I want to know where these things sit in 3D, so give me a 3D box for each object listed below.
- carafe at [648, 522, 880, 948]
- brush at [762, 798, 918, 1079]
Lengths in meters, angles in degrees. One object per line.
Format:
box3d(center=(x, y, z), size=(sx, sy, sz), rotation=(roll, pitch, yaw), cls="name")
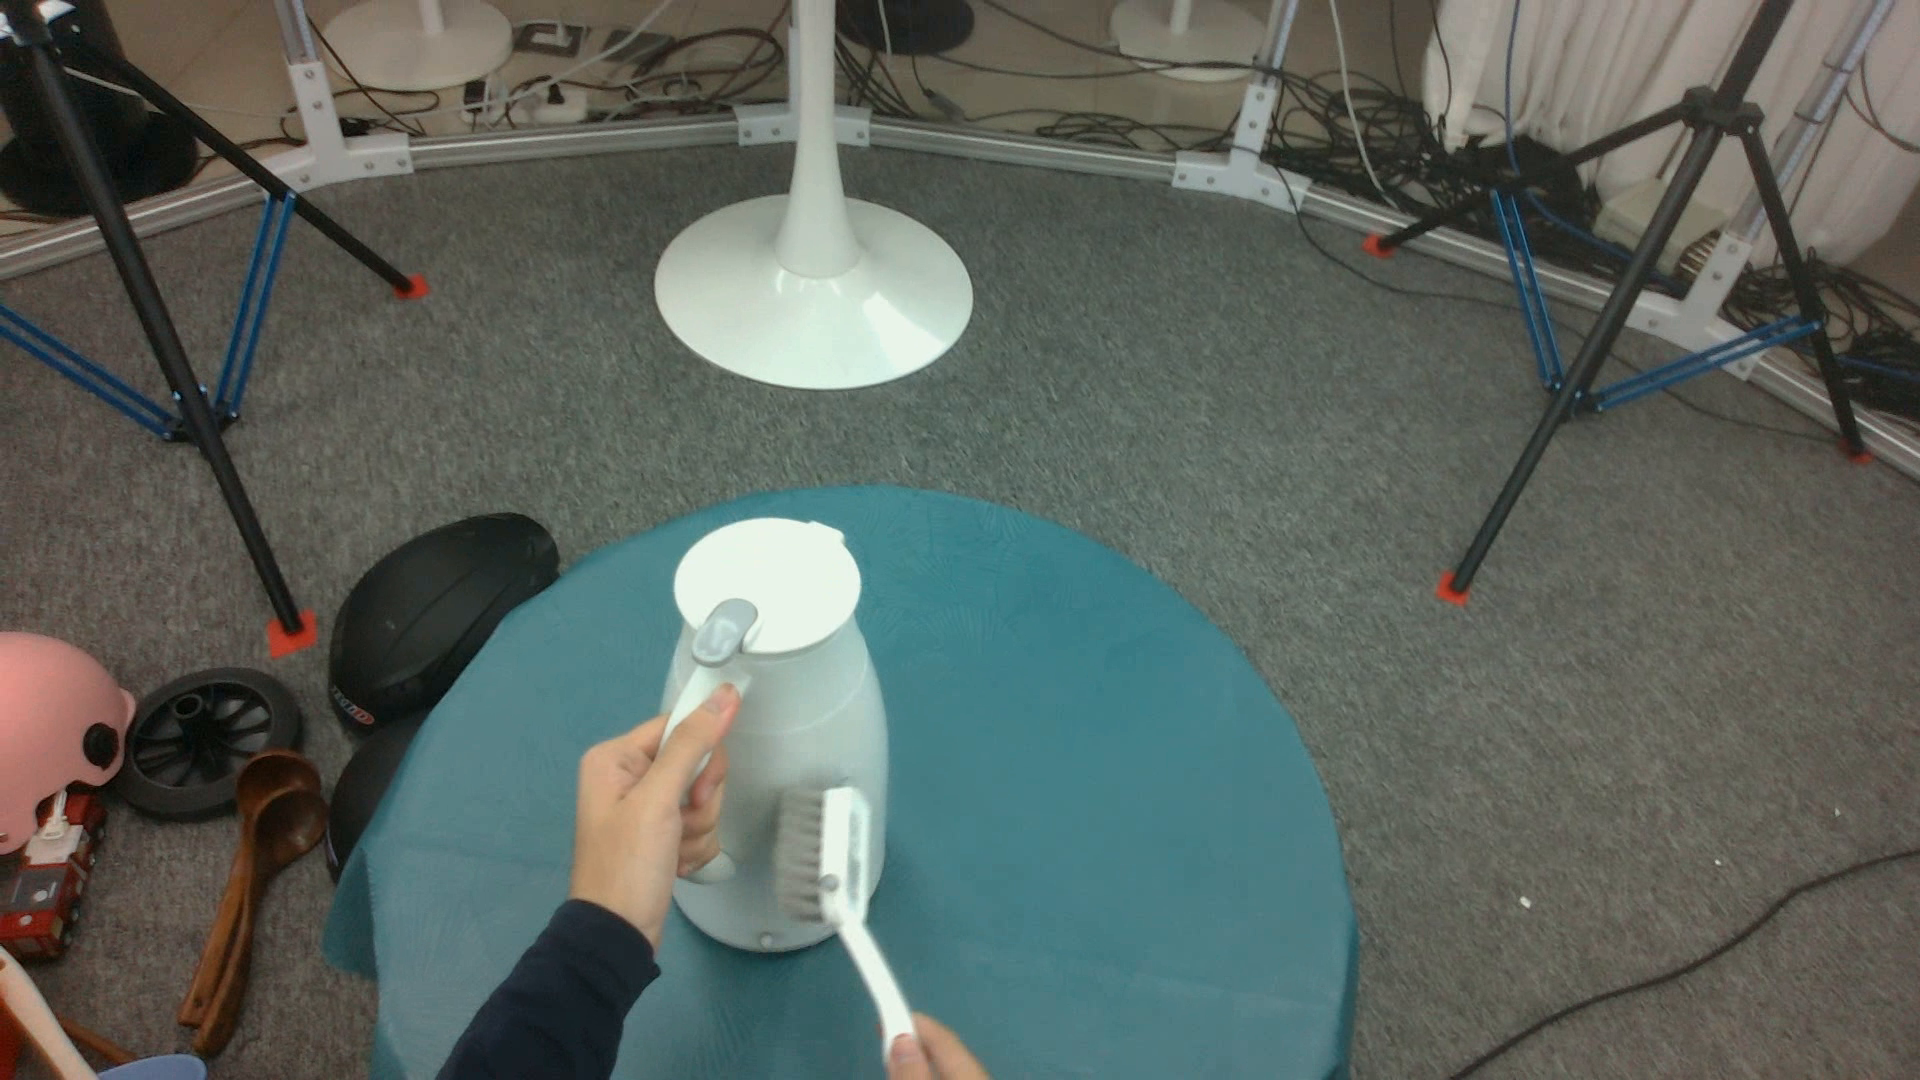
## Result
box3d(center=(-0.115, 0.118, 0.758), size=(0.132, 0.247, 0.168), rotation=(18, 45, 12), cls="carafe")
box3d(center=(-0.052, 0.232, 0.657), size=(0.050, 0.034, 0.244), rotation=(-22, 58, 1), cls="brush")
